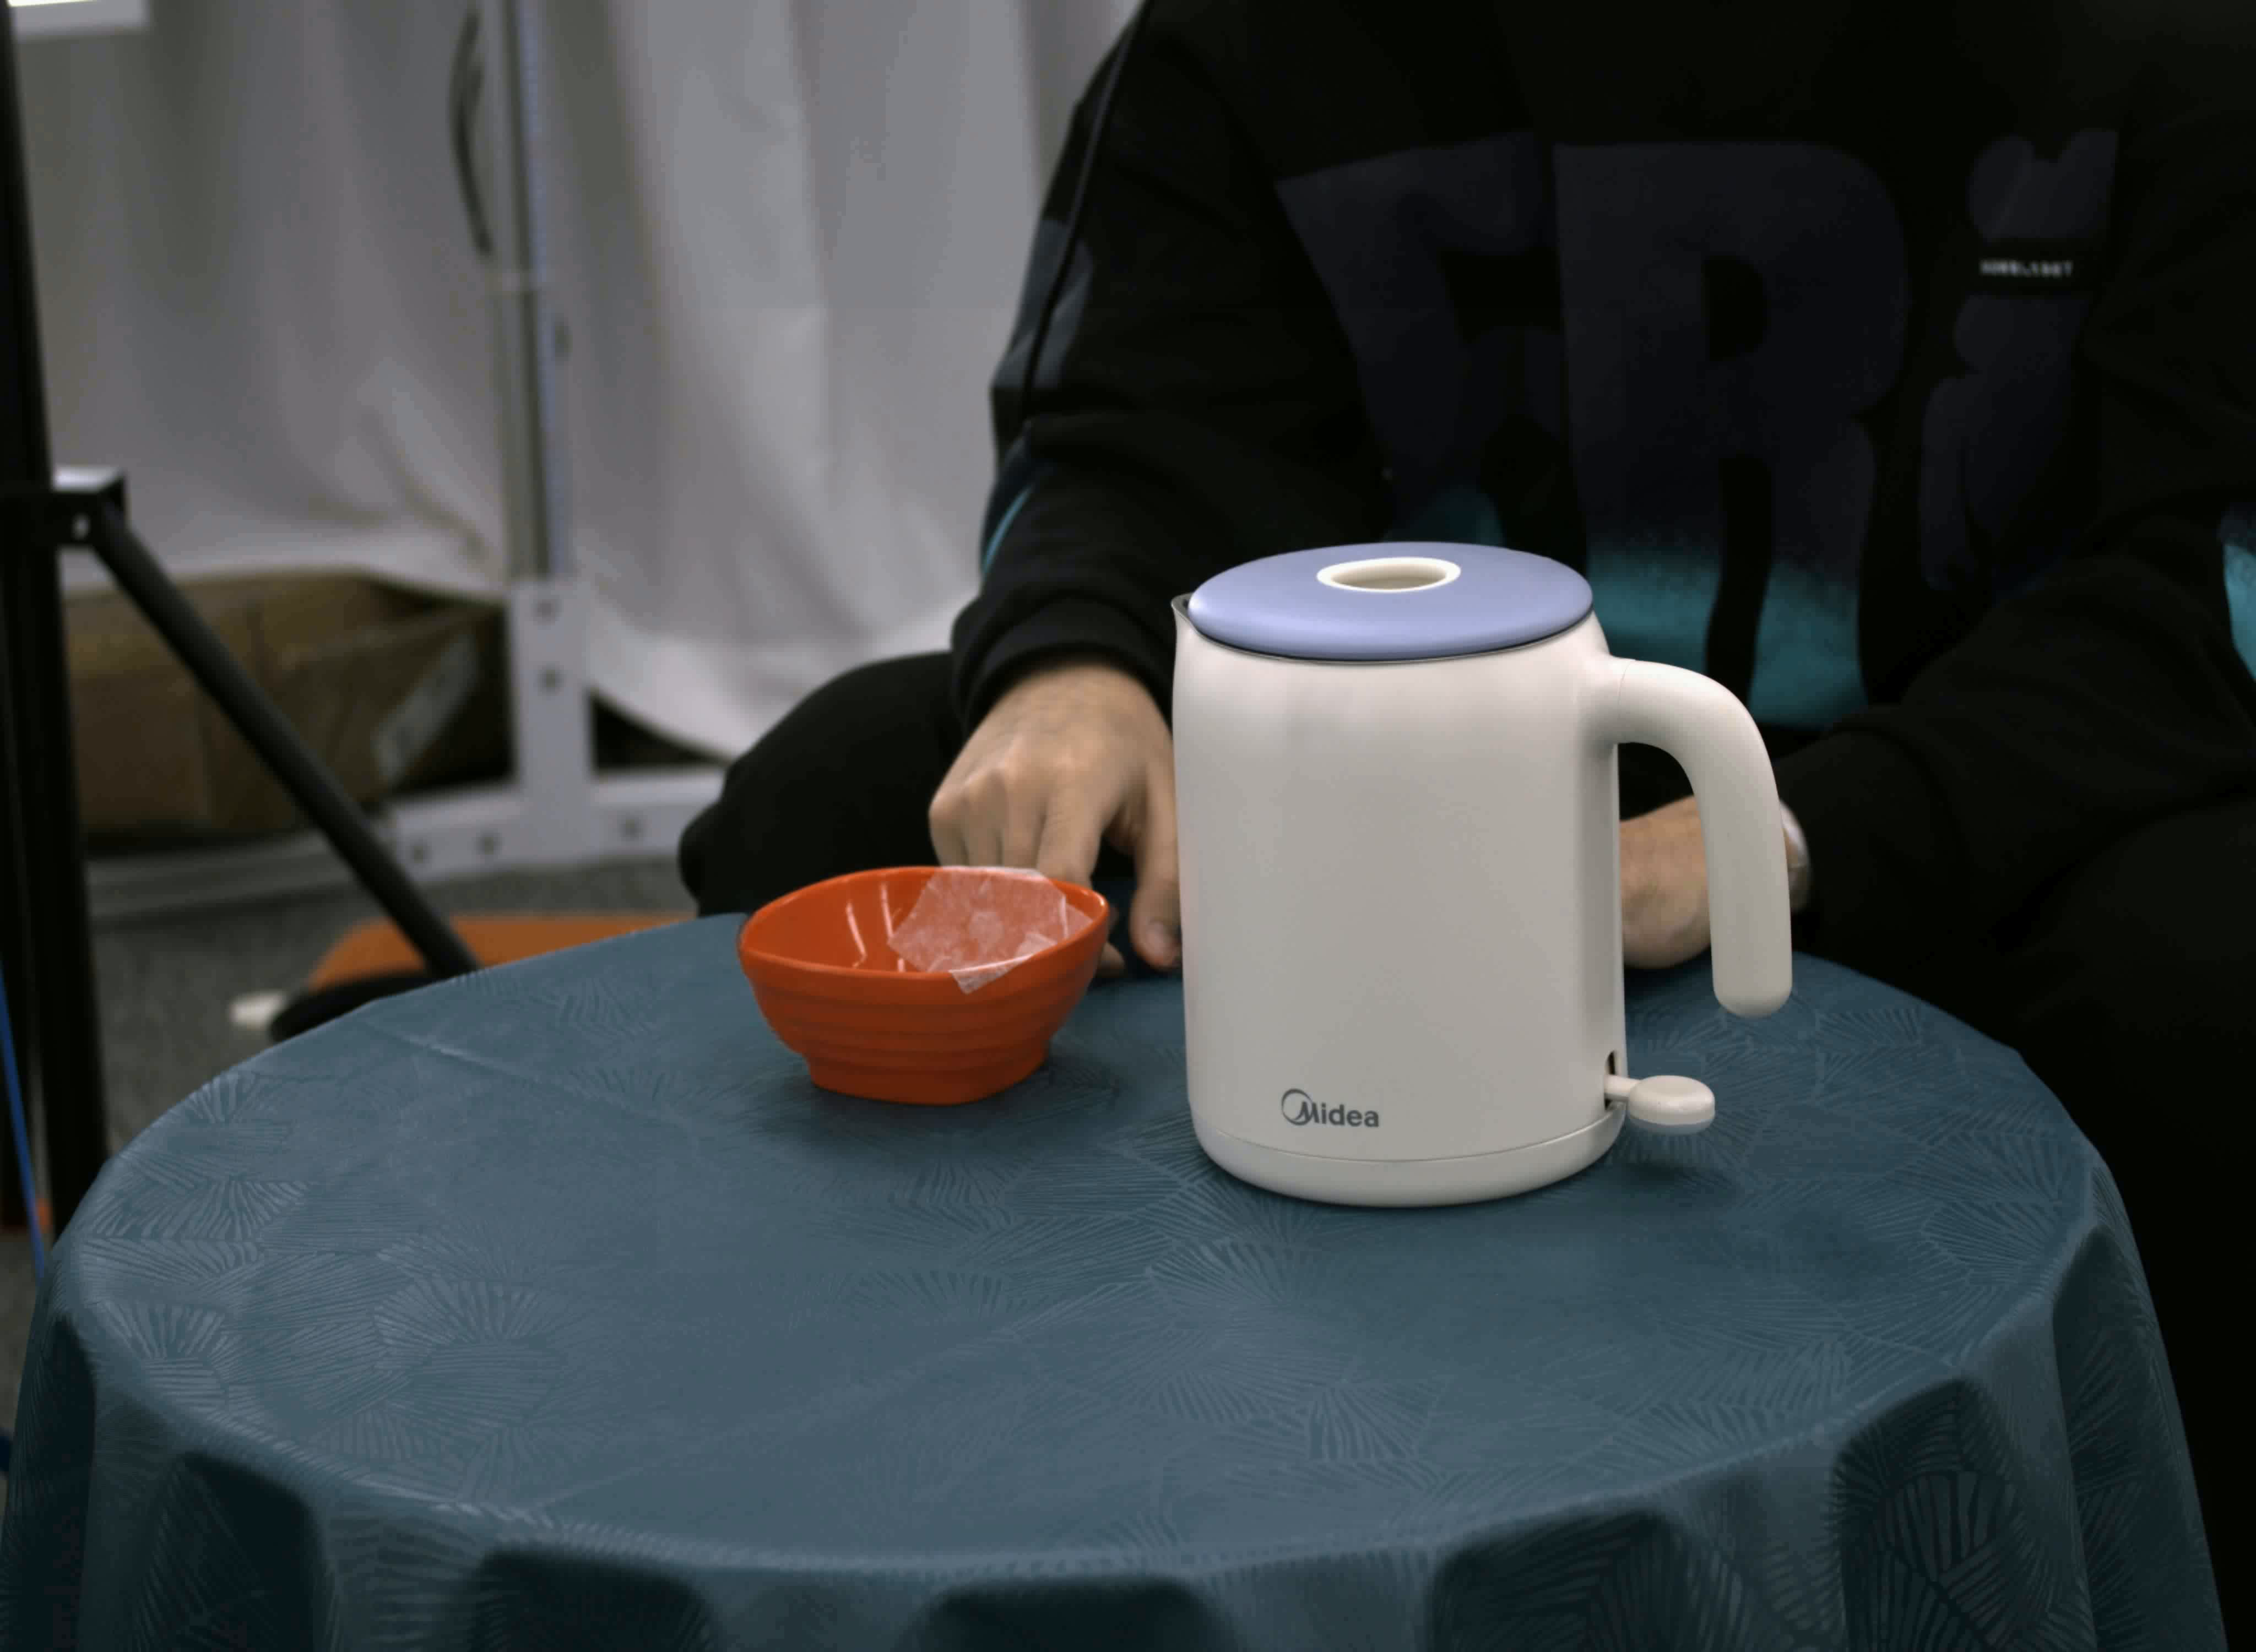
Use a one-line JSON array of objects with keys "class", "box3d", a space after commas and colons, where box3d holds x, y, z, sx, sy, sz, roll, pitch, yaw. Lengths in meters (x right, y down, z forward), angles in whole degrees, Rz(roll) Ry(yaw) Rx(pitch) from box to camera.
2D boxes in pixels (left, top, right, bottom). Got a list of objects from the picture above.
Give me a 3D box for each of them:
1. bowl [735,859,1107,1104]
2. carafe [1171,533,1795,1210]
[{"class": "bowl", "box3d": [-0.062, 0.051, 1.670, 0.118, 0.051, 0.119, -6, 17, 0]}, {"class": "carafe", "box3d": [0.103, 0.015, 1.557, 0.193, 0.182, 0.130, 6, 19, 22]}]
